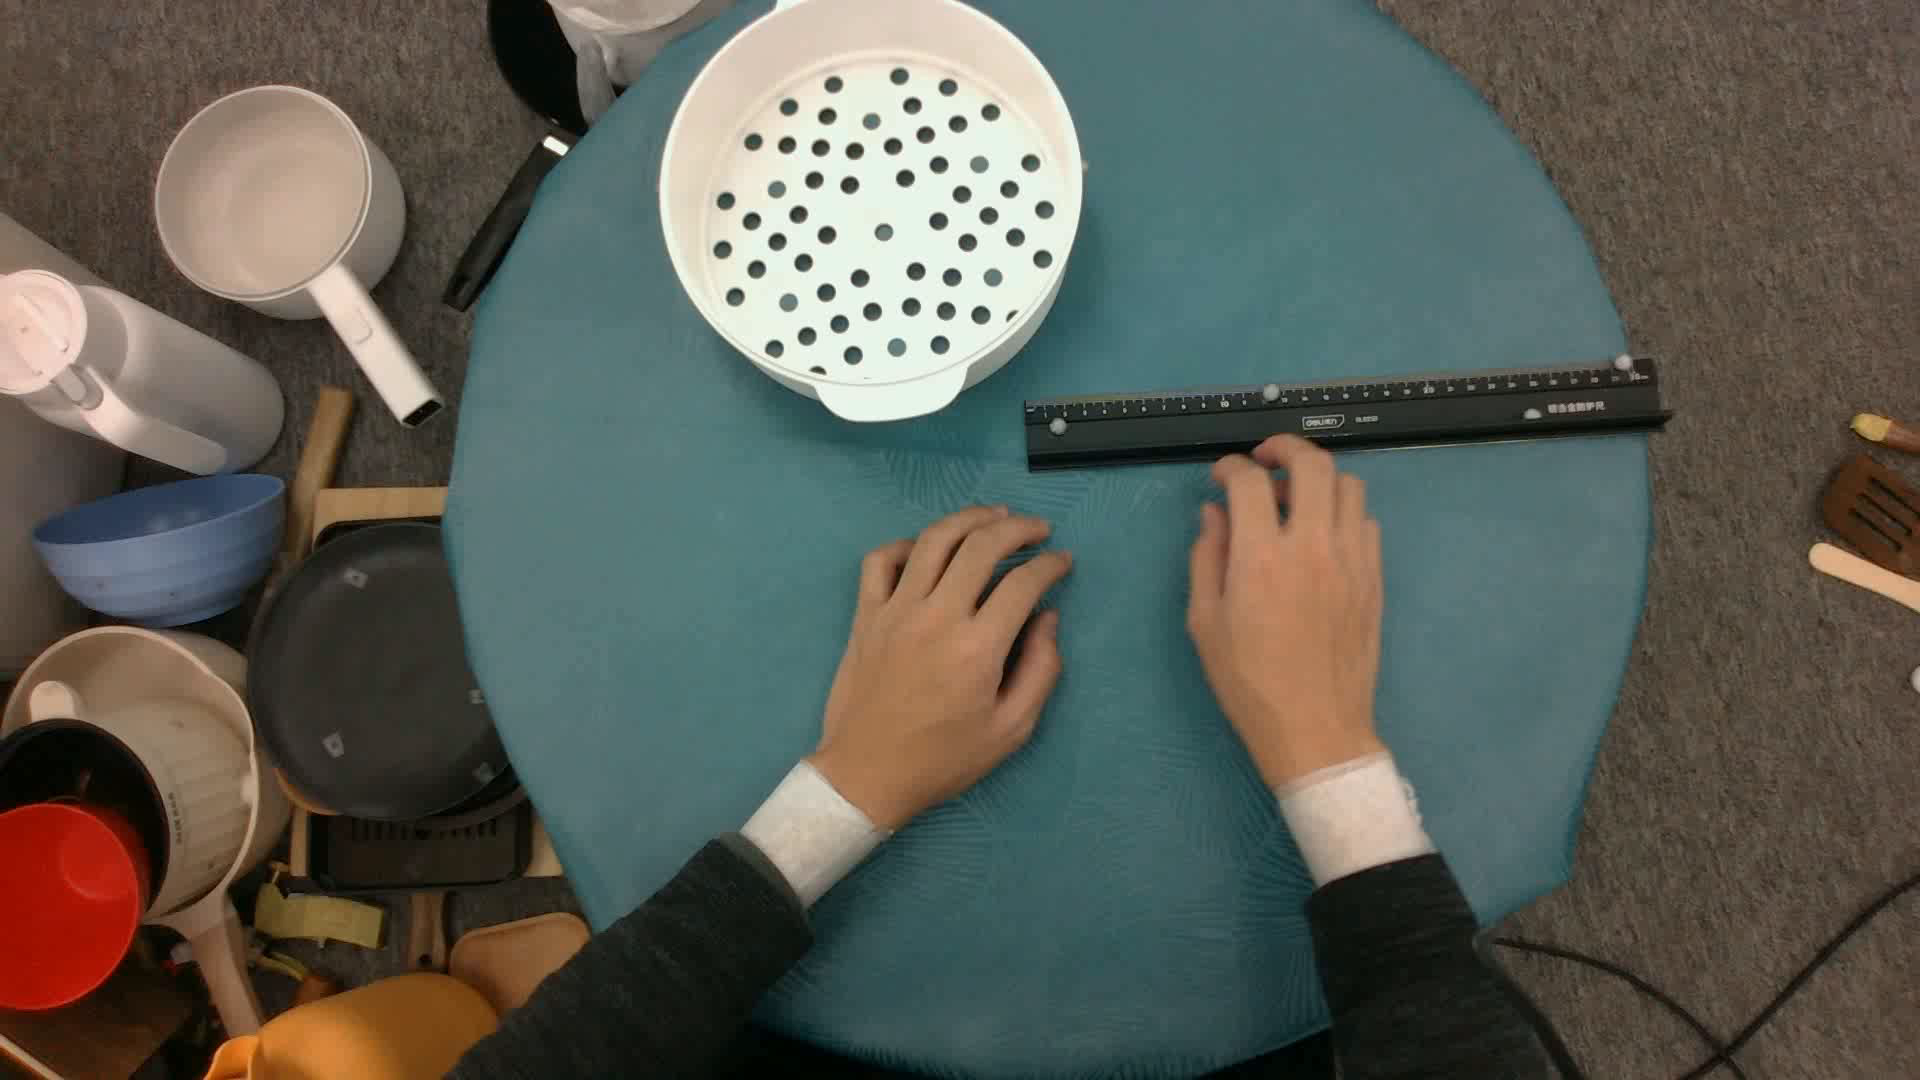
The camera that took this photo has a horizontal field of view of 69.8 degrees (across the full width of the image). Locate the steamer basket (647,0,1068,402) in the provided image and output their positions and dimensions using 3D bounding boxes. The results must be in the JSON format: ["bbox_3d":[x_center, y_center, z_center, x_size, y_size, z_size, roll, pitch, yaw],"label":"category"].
[{"bbox_3d":[-0.048,-0.172,0.682,0.202,0.069,0.231,-7,78,1],"label":"steamer basket"}]

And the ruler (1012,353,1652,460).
[{"bbox_3d":[0.182,-0.069,0.683,0.312,0.017,0.039,-3,77,2],"label":"ruler"}]
